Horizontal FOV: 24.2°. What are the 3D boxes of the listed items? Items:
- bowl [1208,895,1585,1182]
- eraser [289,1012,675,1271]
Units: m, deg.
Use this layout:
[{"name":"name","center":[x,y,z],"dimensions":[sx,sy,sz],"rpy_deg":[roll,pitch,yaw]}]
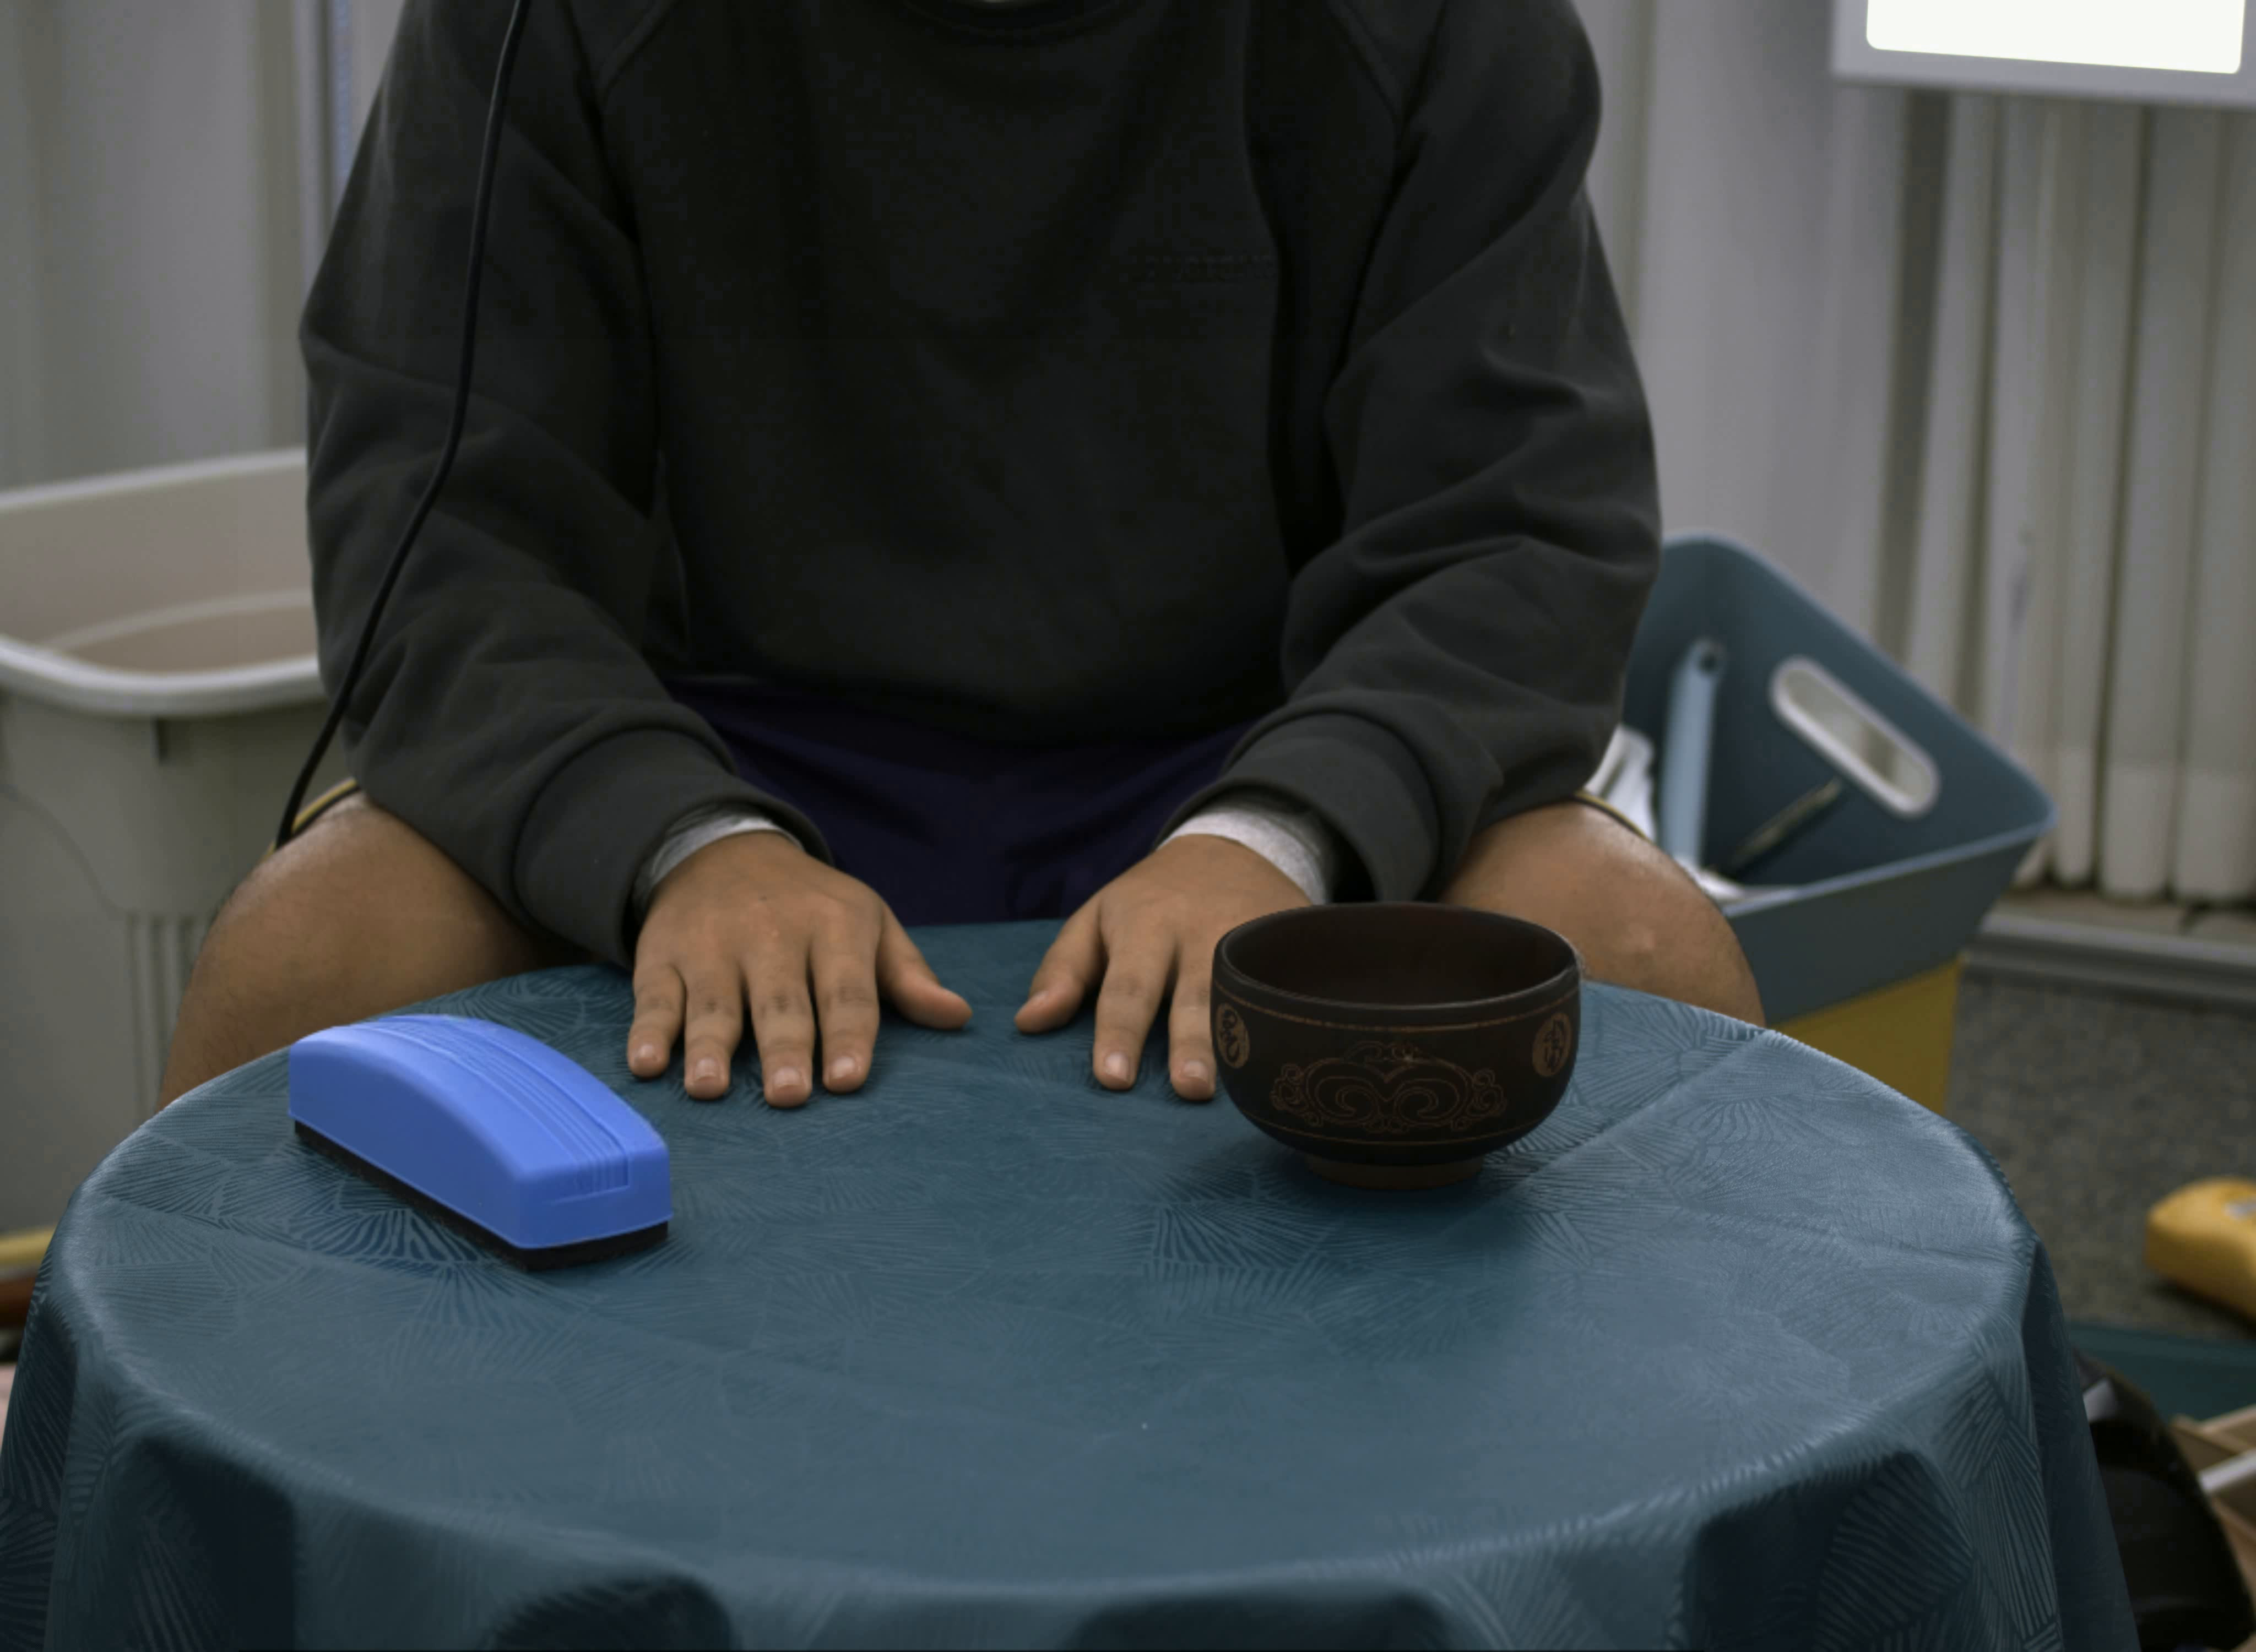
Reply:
[{"name":"bowl","center":[0.083,0.070,1.641],"dimensions":[0.117,0.070,0.117],"rpy_deg":[0,15,1]},{"name":"eraser","center":[-0.200,0.090,1.611],"dimensions":[0.054,0.048,0.160],"rpy_deg":[-14,21,-34]}]
